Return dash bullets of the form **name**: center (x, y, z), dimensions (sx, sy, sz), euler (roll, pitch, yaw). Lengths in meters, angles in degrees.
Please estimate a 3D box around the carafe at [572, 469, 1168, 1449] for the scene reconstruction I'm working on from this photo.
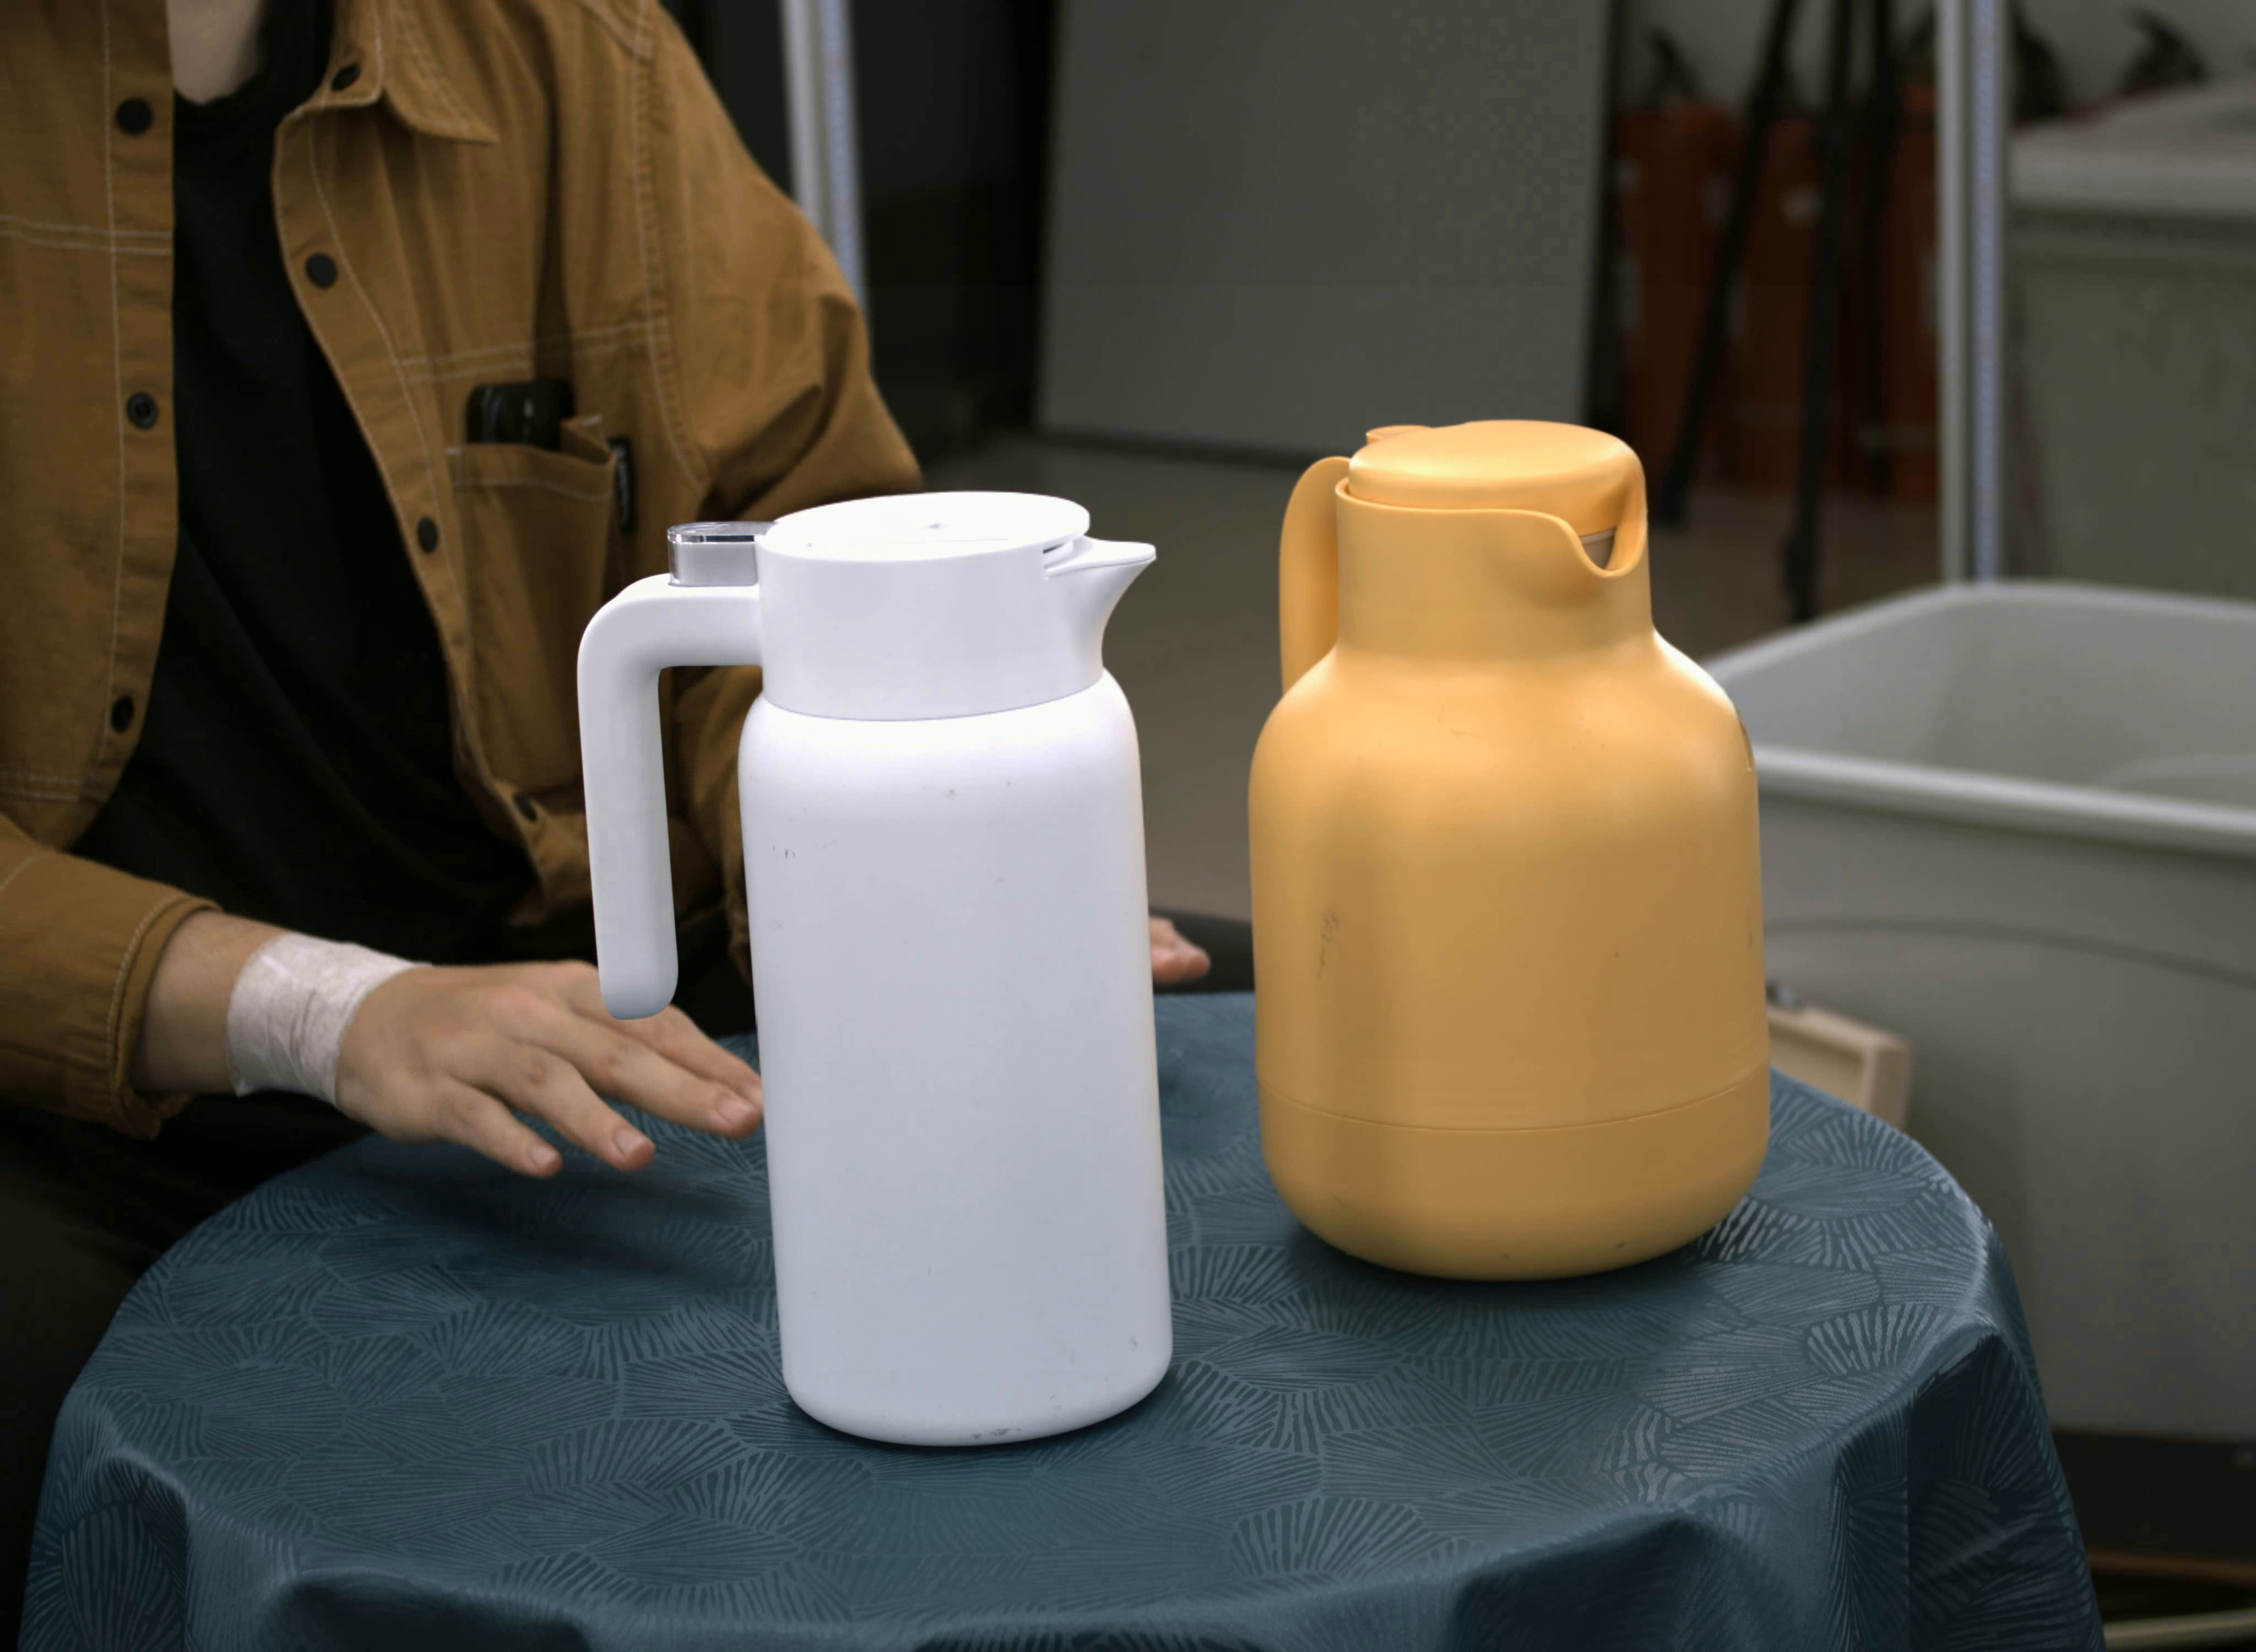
- **carafe**: center (-0.070, 0.038, 1.571), dimensions (0.171, 0.272, 0.123), euler (-1, 16, 11)

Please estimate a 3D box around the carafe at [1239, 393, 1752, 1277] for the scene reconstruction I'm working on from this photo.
- **carafe**: center (0.107, -0.005, 1.698), dimensions (0.160, 0.263, 0.204), euler (-6, 15, -22)
